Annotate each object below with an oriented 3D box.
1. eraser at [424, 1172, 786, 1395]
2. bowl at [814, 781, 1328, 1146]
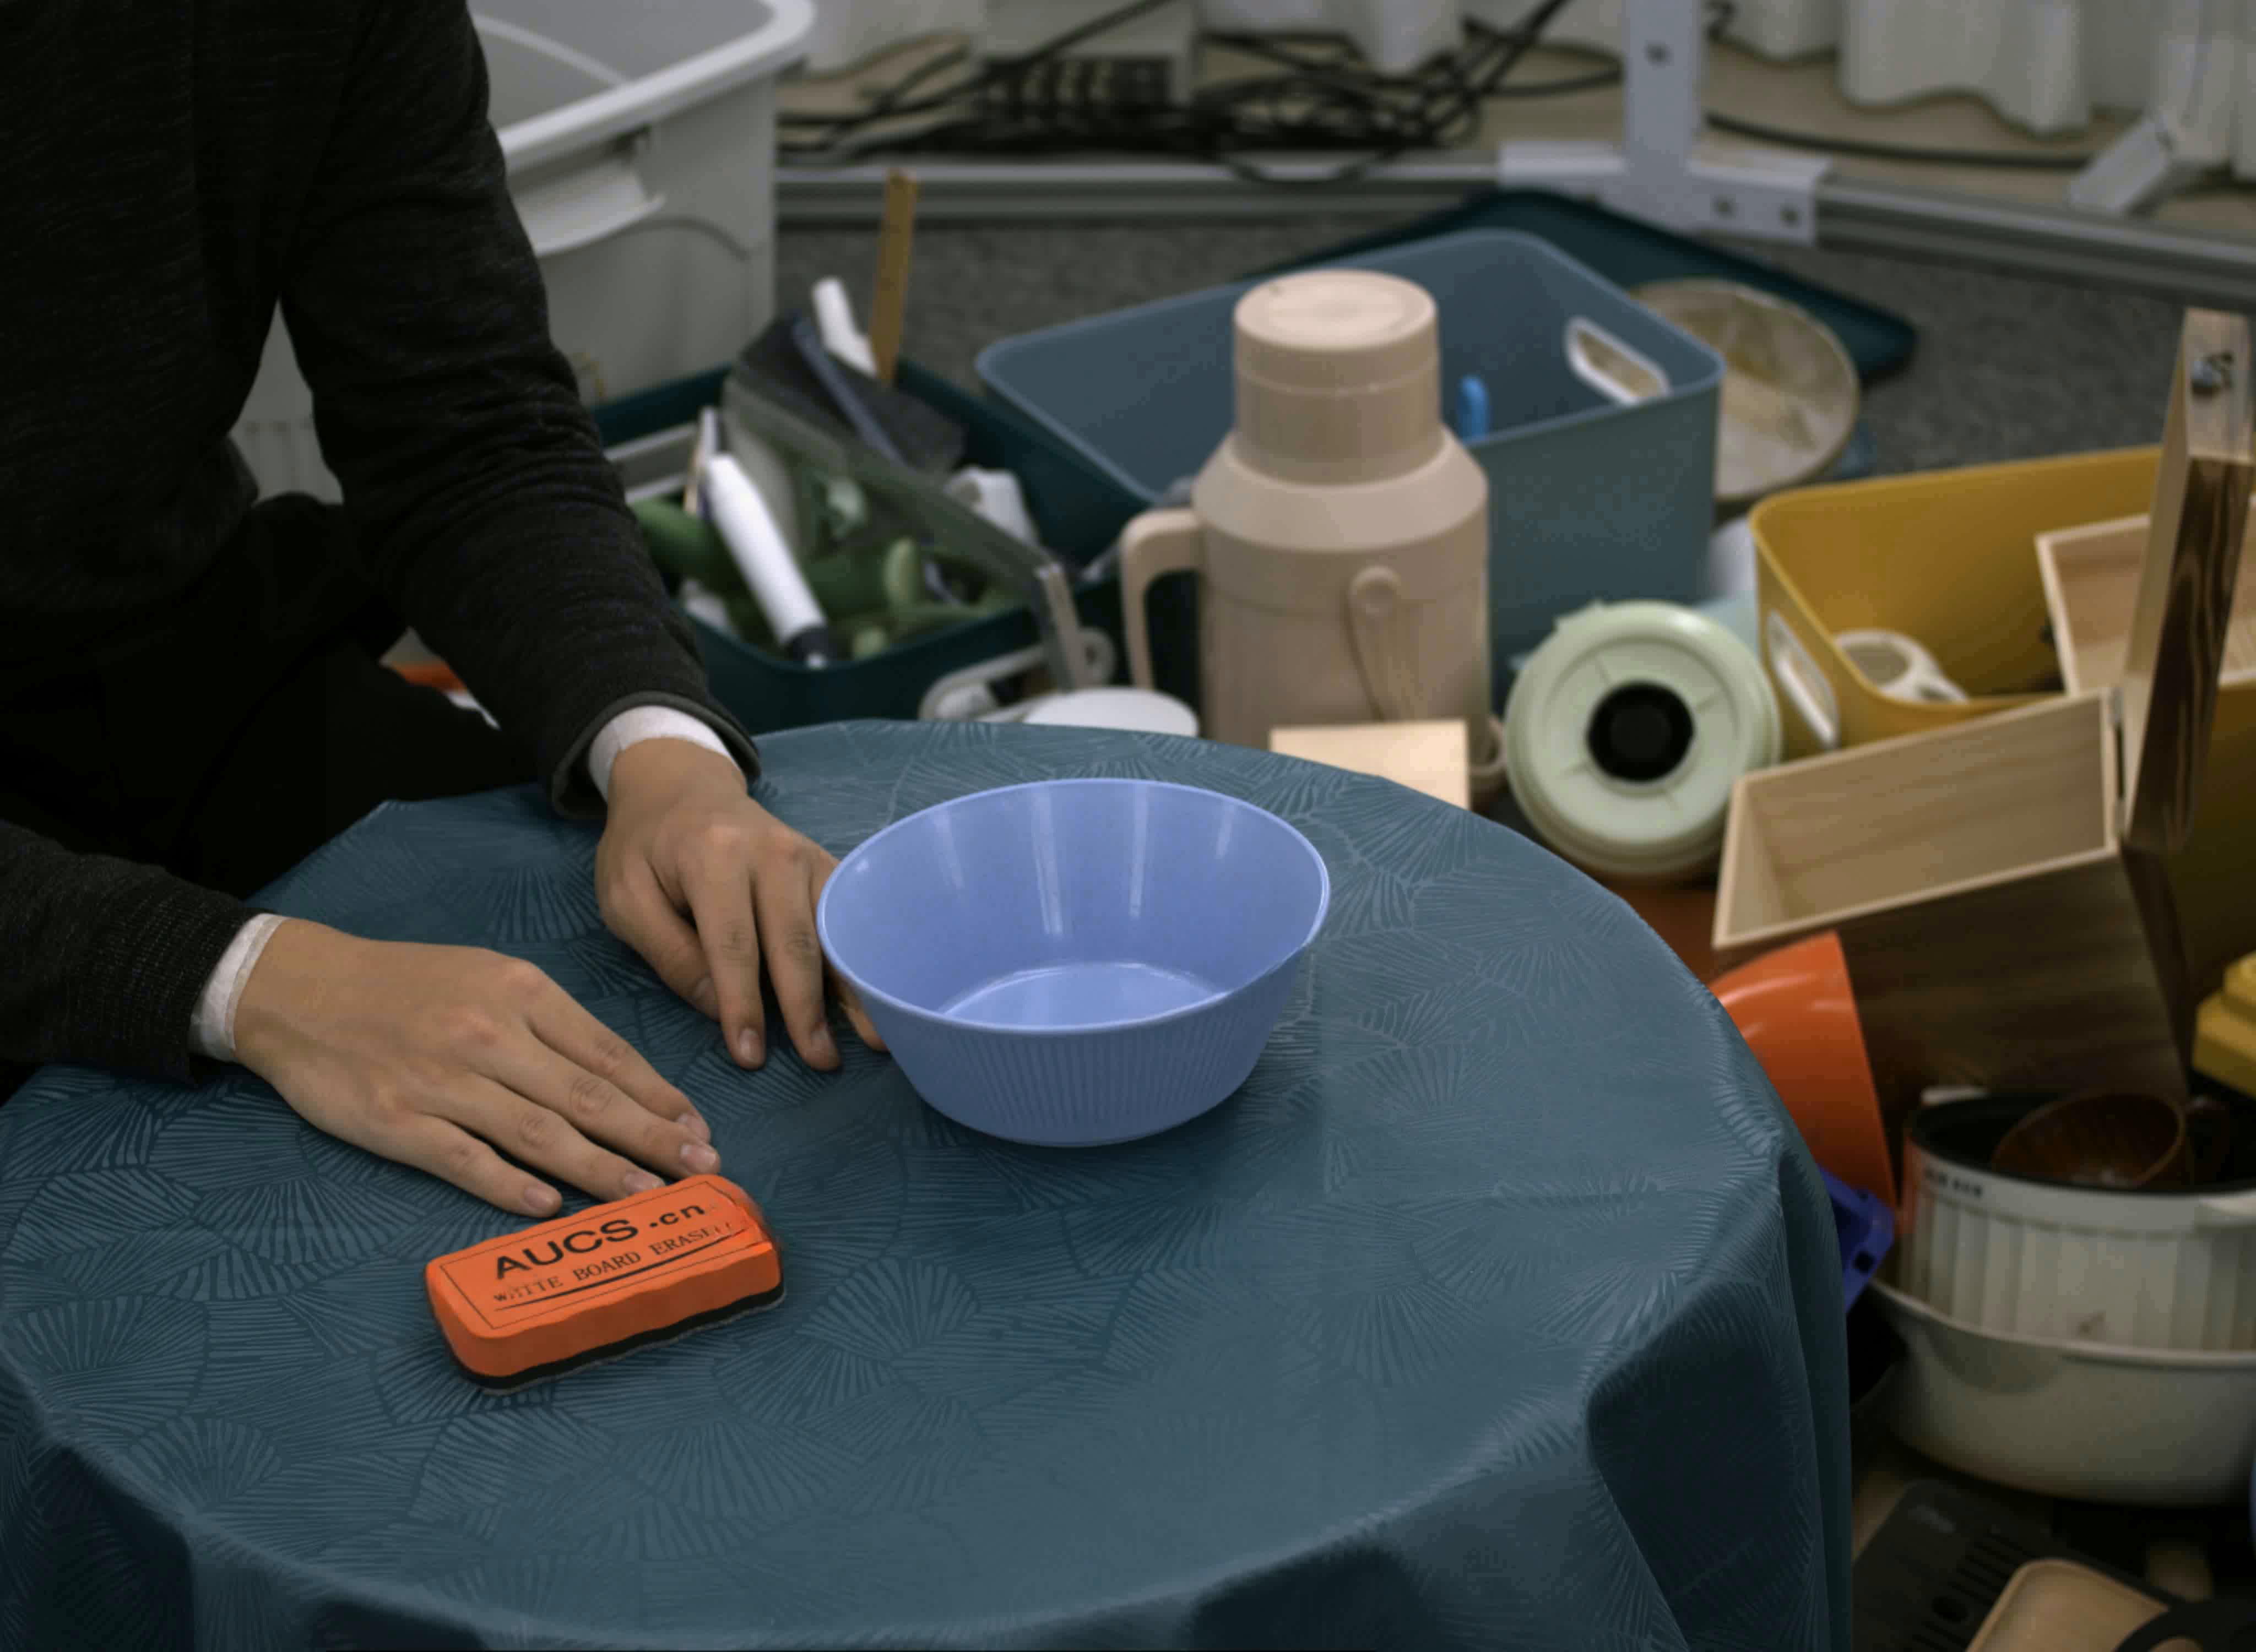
[{"bbox_3d":[-0.168,0.147,1.802,0.108,0.022,0.059,-17,33,-23],"label":"eraser"},{"bbox_3d":[-0.018,0.053,1.922,0.175,0.069,0.179,-2,27,2],"label":"bowl"}]
